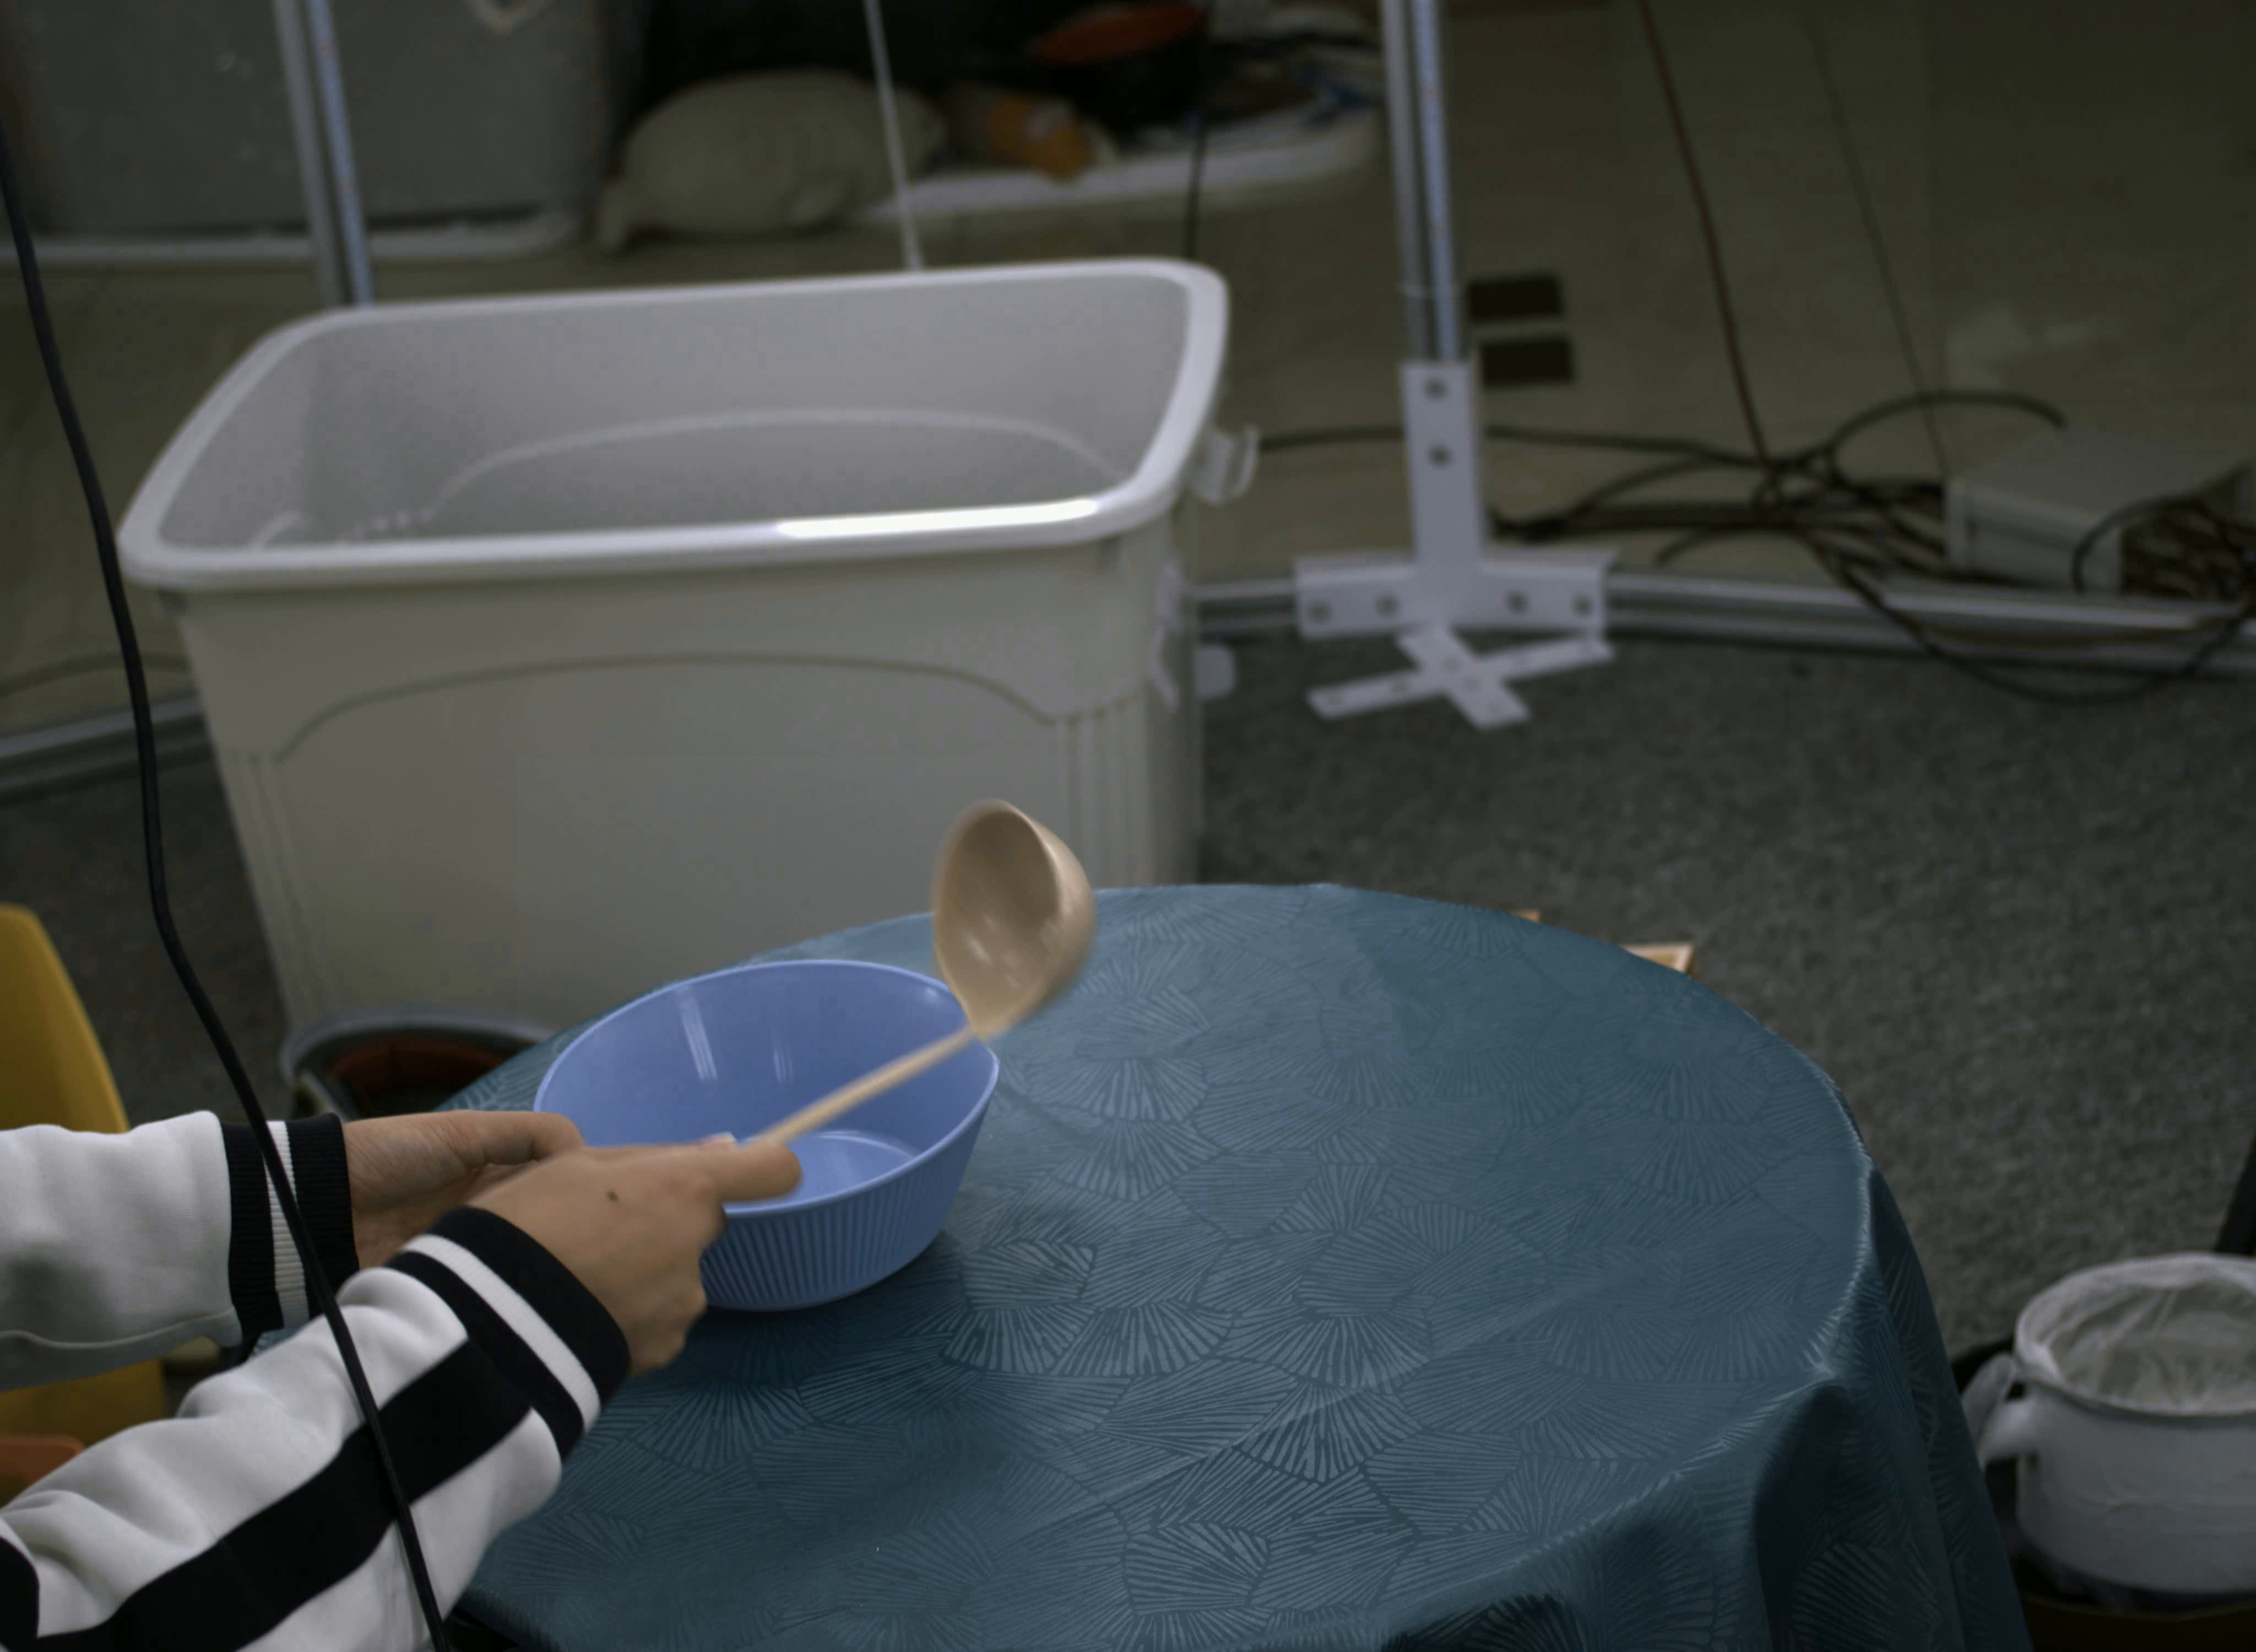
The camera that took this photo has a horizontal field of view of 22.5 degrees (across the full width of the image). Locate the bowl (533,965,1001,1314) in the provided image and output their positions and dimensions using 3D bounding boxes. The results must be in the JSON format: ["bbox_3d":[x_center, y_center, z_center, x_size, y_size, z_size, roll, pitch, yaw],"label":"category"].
[{"bbox_3d":[-0.130,0.124,2.119,0.176,0.071,0.173,-6,29,3],"label":"bowl"}]

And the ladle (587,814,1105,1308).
[{"bbox_3d":[-0.105,0.073,1.902,0.072,0.073,0.252,-13,14,48],"label":"ladle"}]
